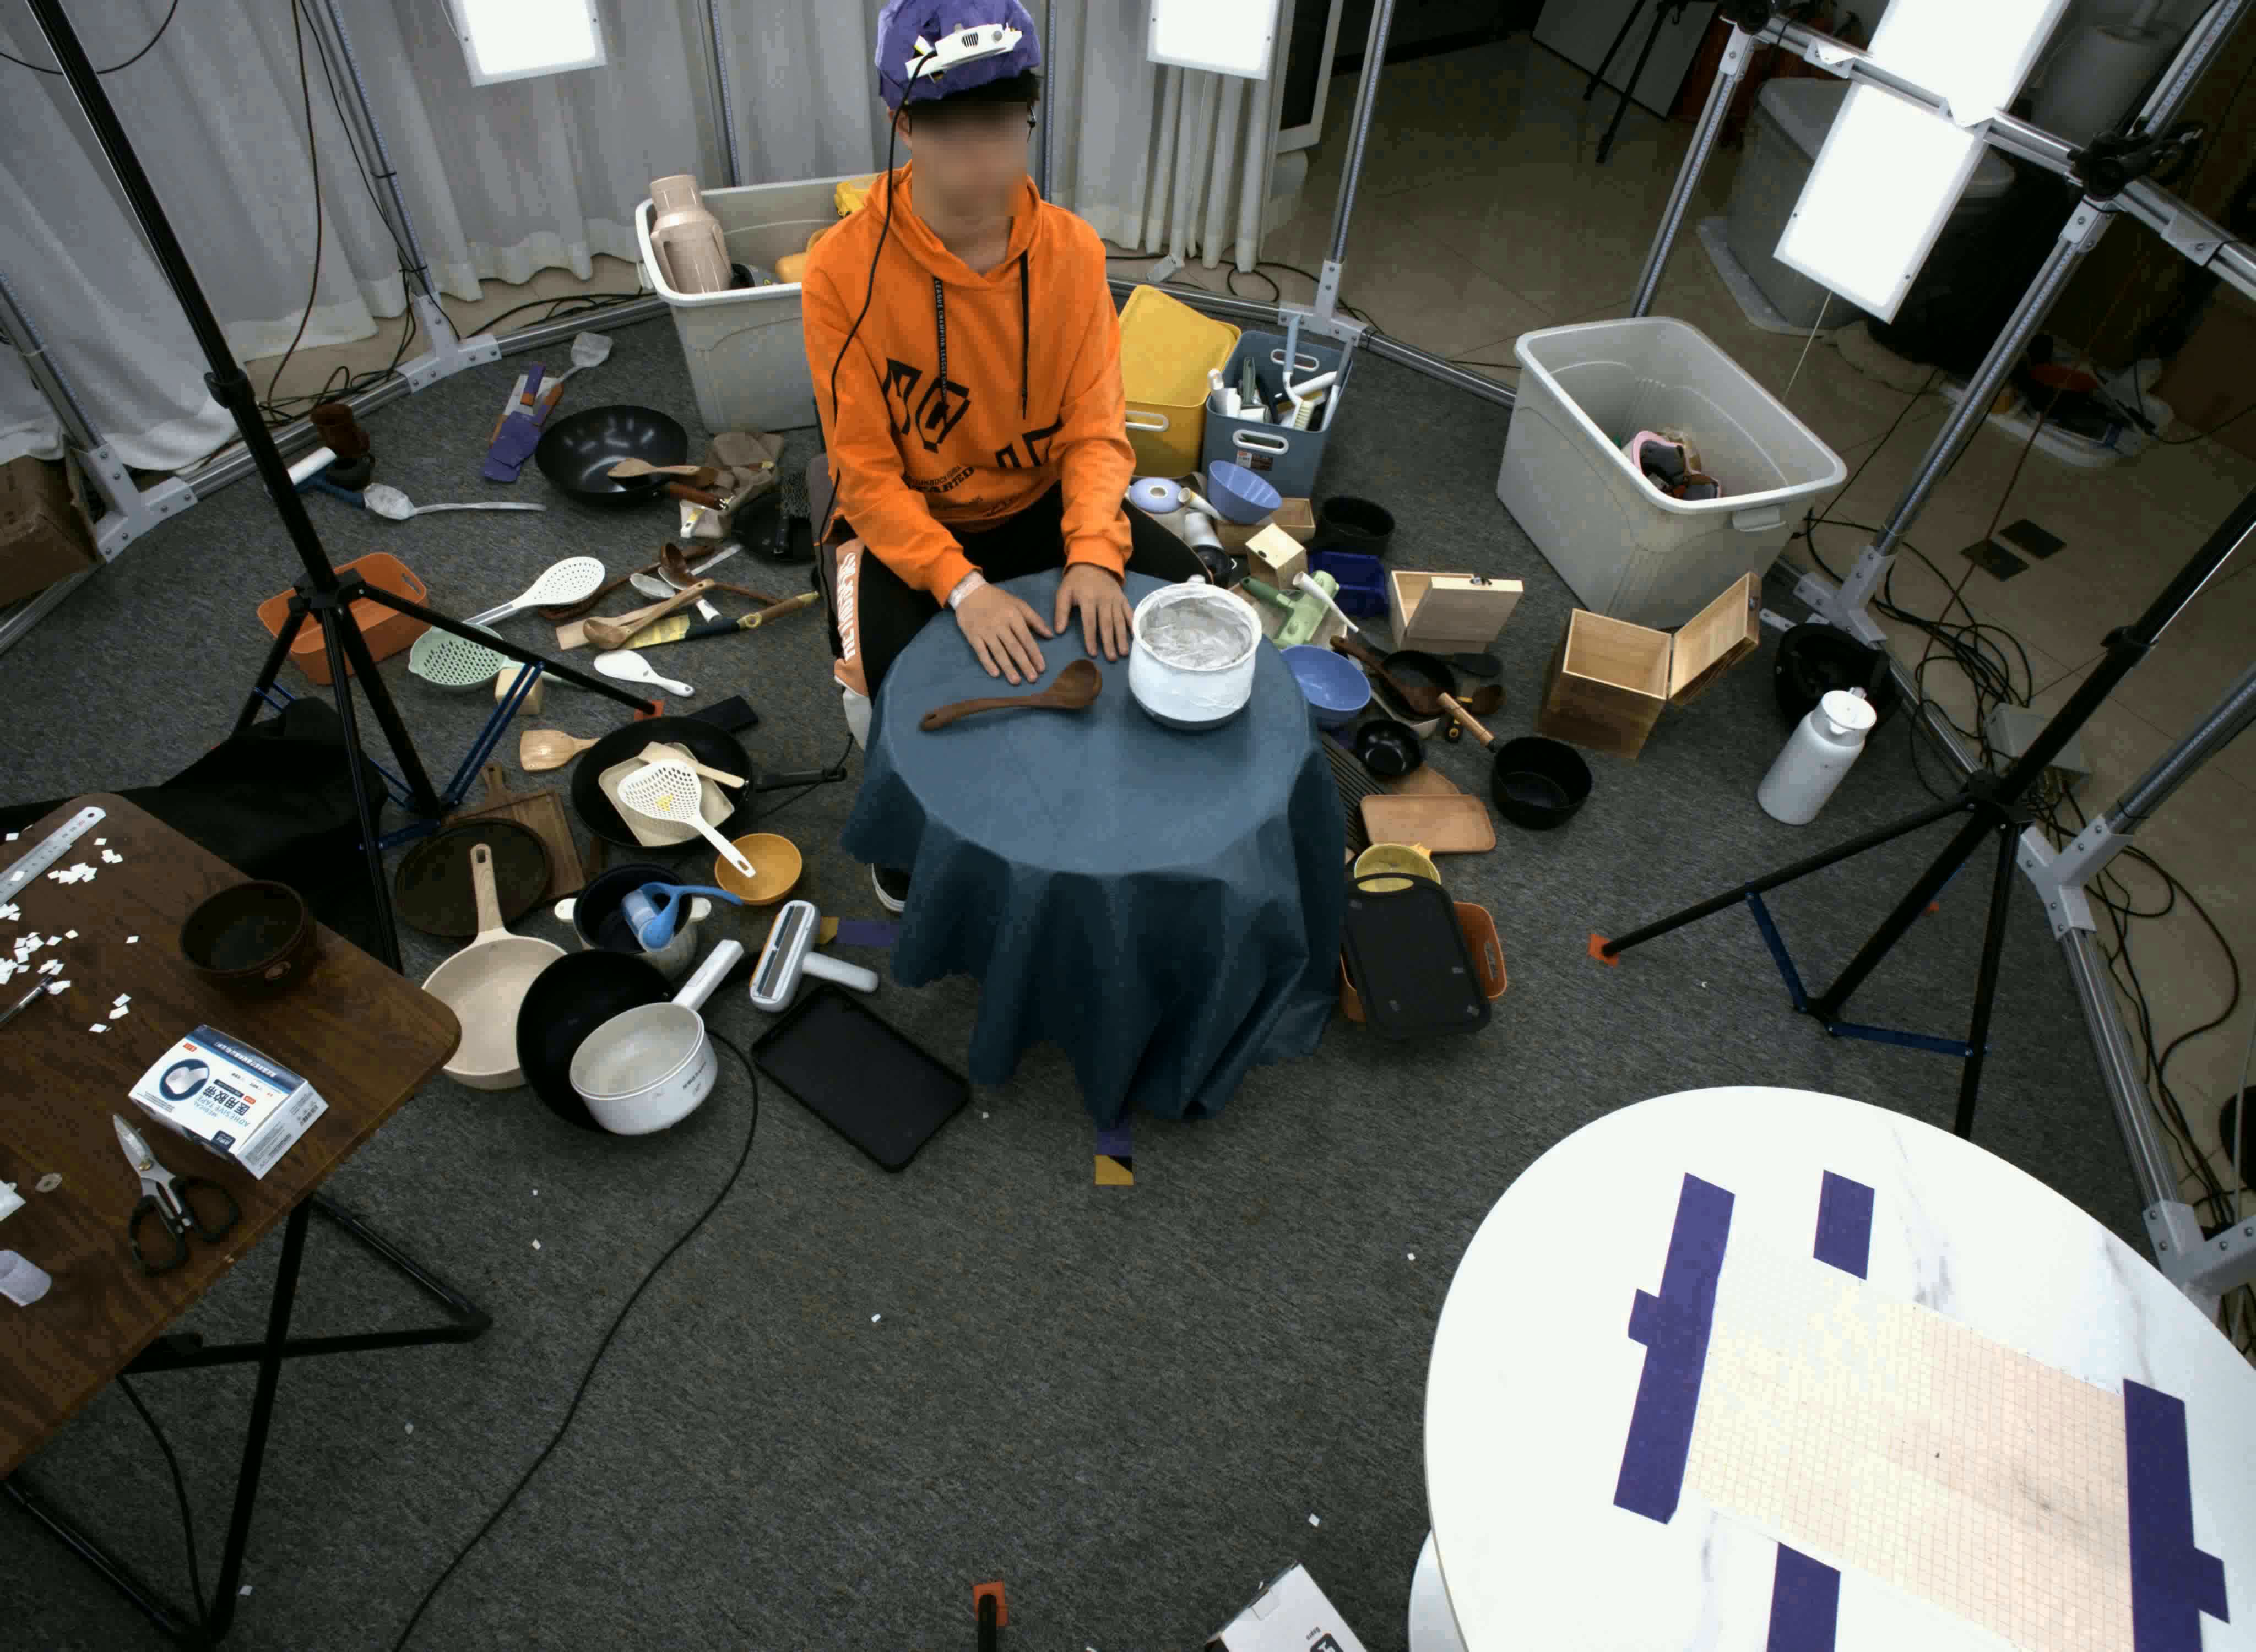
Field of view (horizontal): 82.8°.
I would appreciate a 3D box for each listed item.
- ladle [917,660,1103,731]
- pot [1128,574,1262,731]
[{"bbox_3d":[-0.162,-0.178,1.772,0.260,0.063,0.078,-10,48,-13],"label":"ladle"},{"bbox_3d":[0.090,-0.253,1.806,0.178,0.133,0.239,3,49,-2],"label":"pot"}]
